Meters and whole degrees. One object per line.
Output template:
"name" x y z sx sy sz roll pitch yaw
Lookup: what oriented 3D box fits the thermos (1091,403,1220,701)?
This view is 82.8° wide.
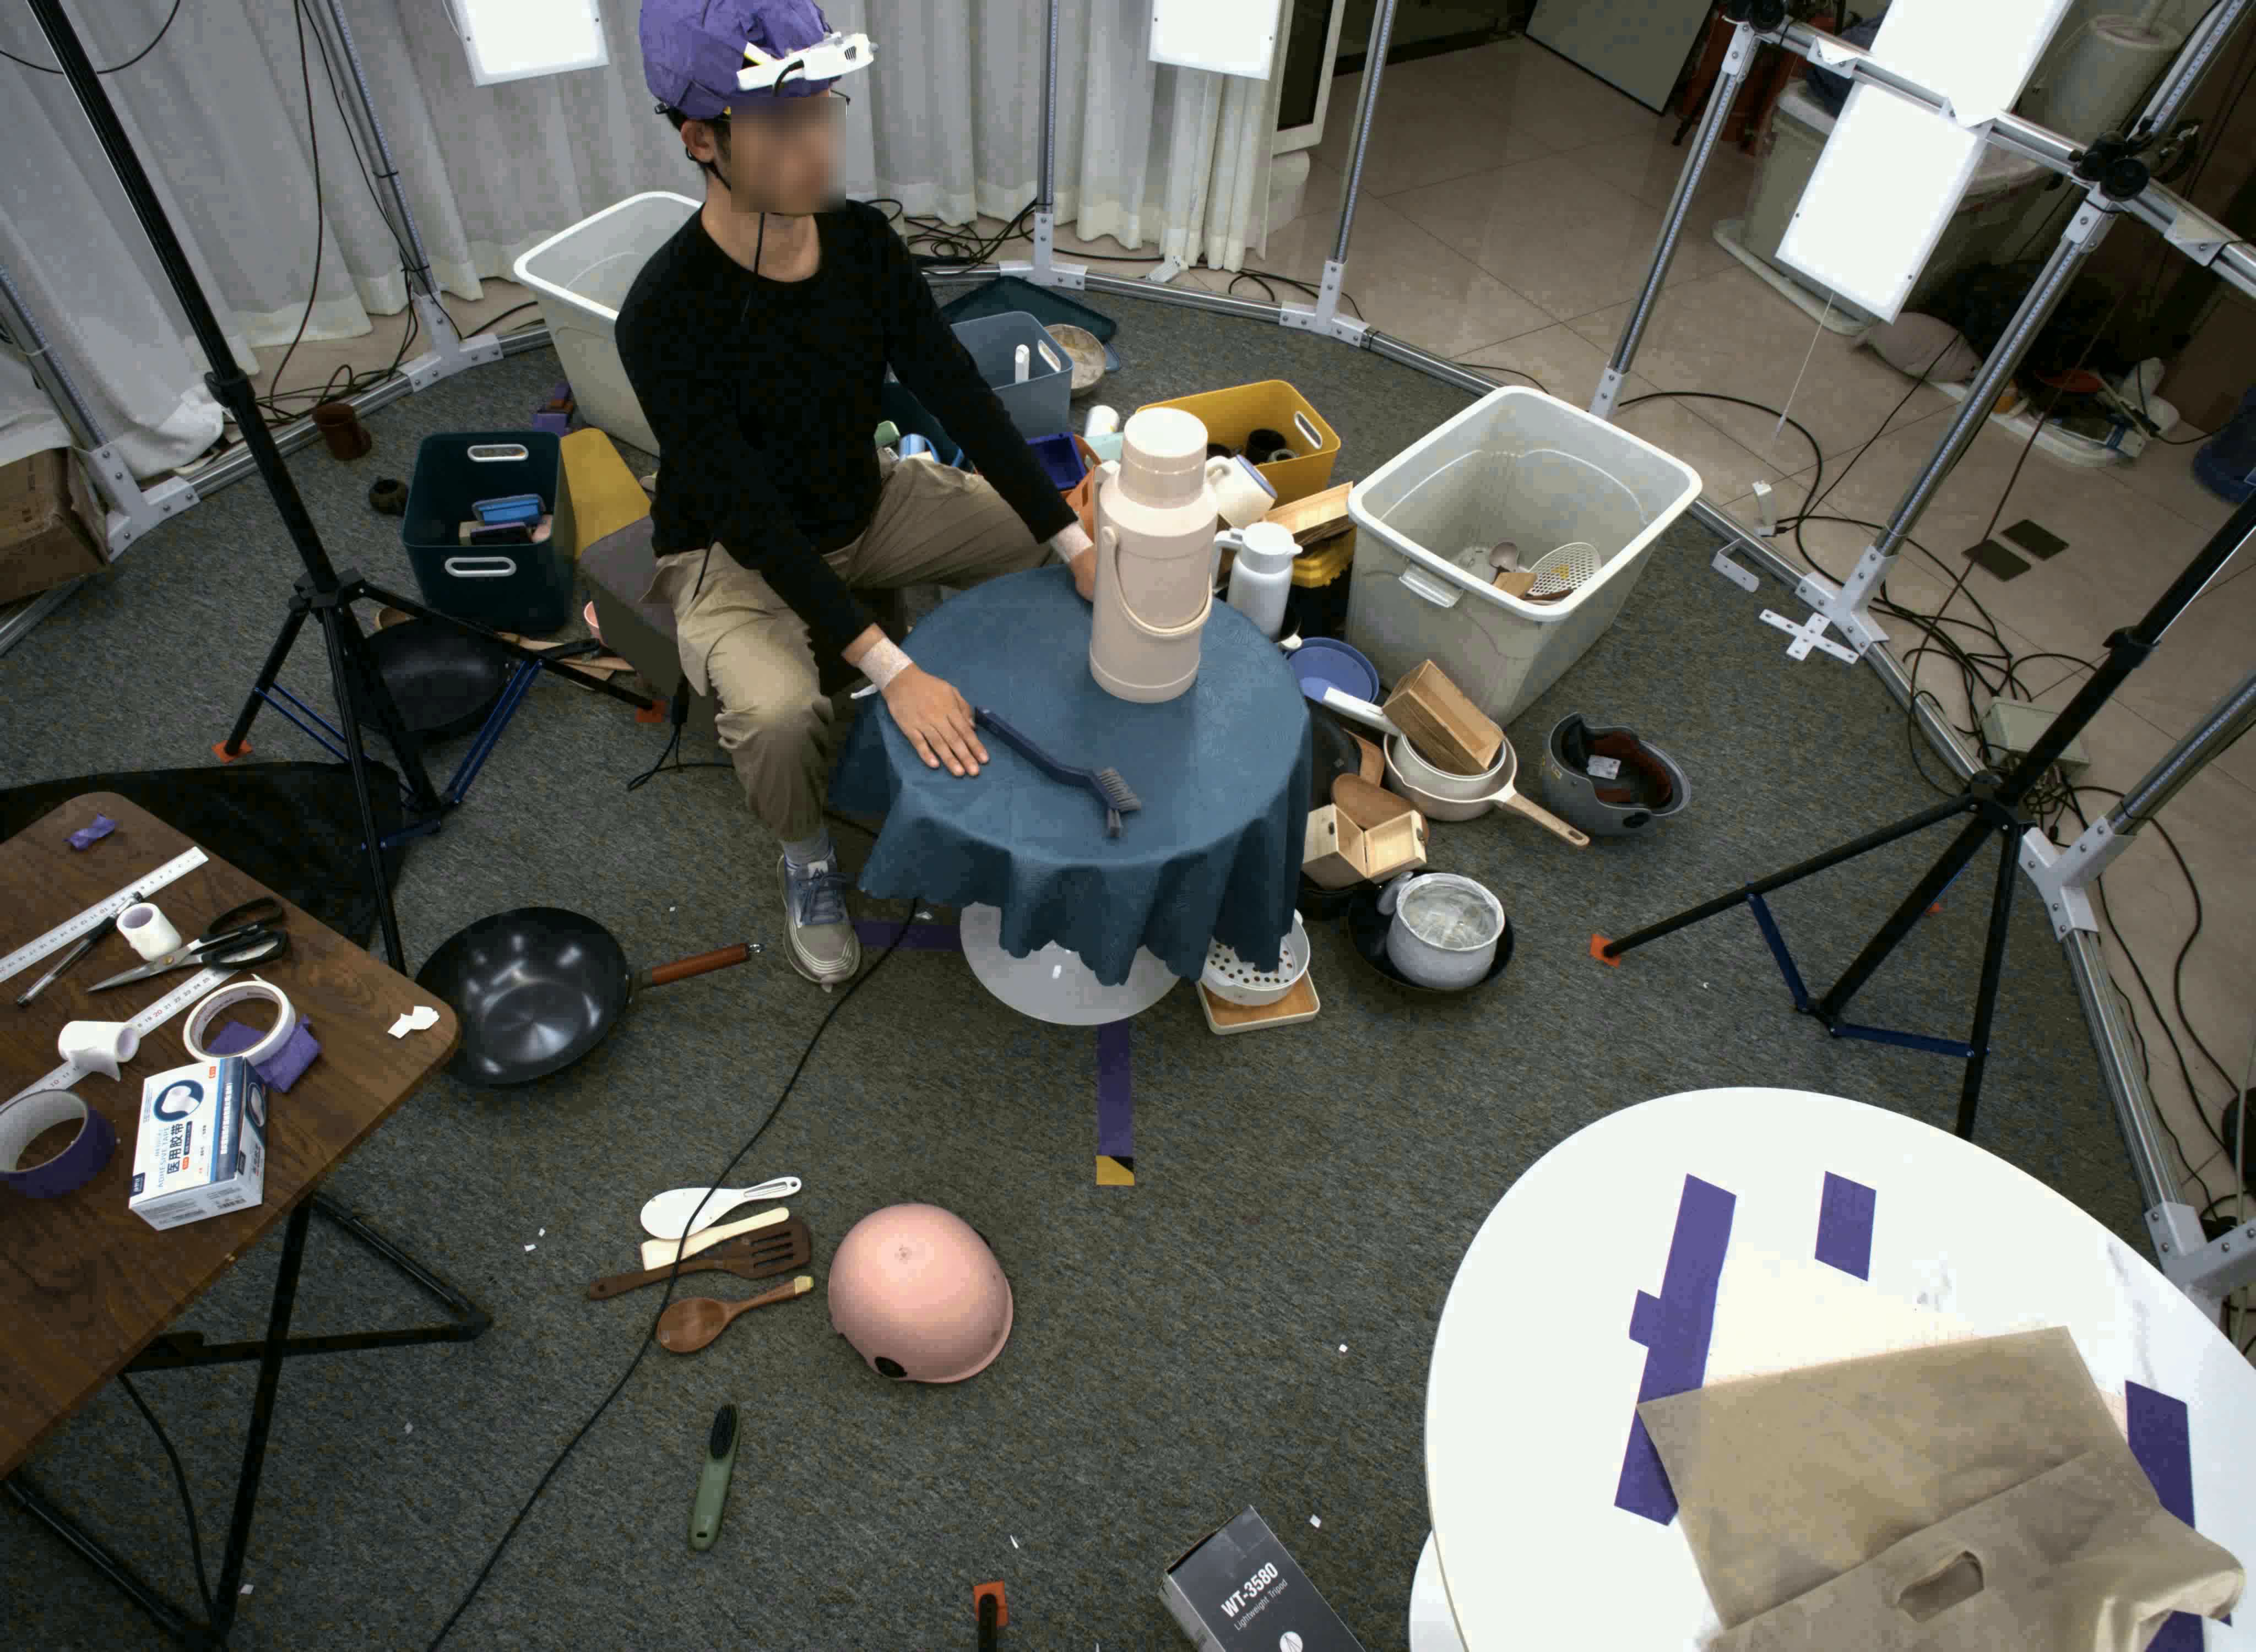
"thermos" 0.028 -0.372 1.738 0.176 0.396 0.210 -33 59 -26

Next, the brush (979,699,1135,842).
"brush" -0.109 -0.080 1.710 0.276 0.033 0.097 31 52 19
